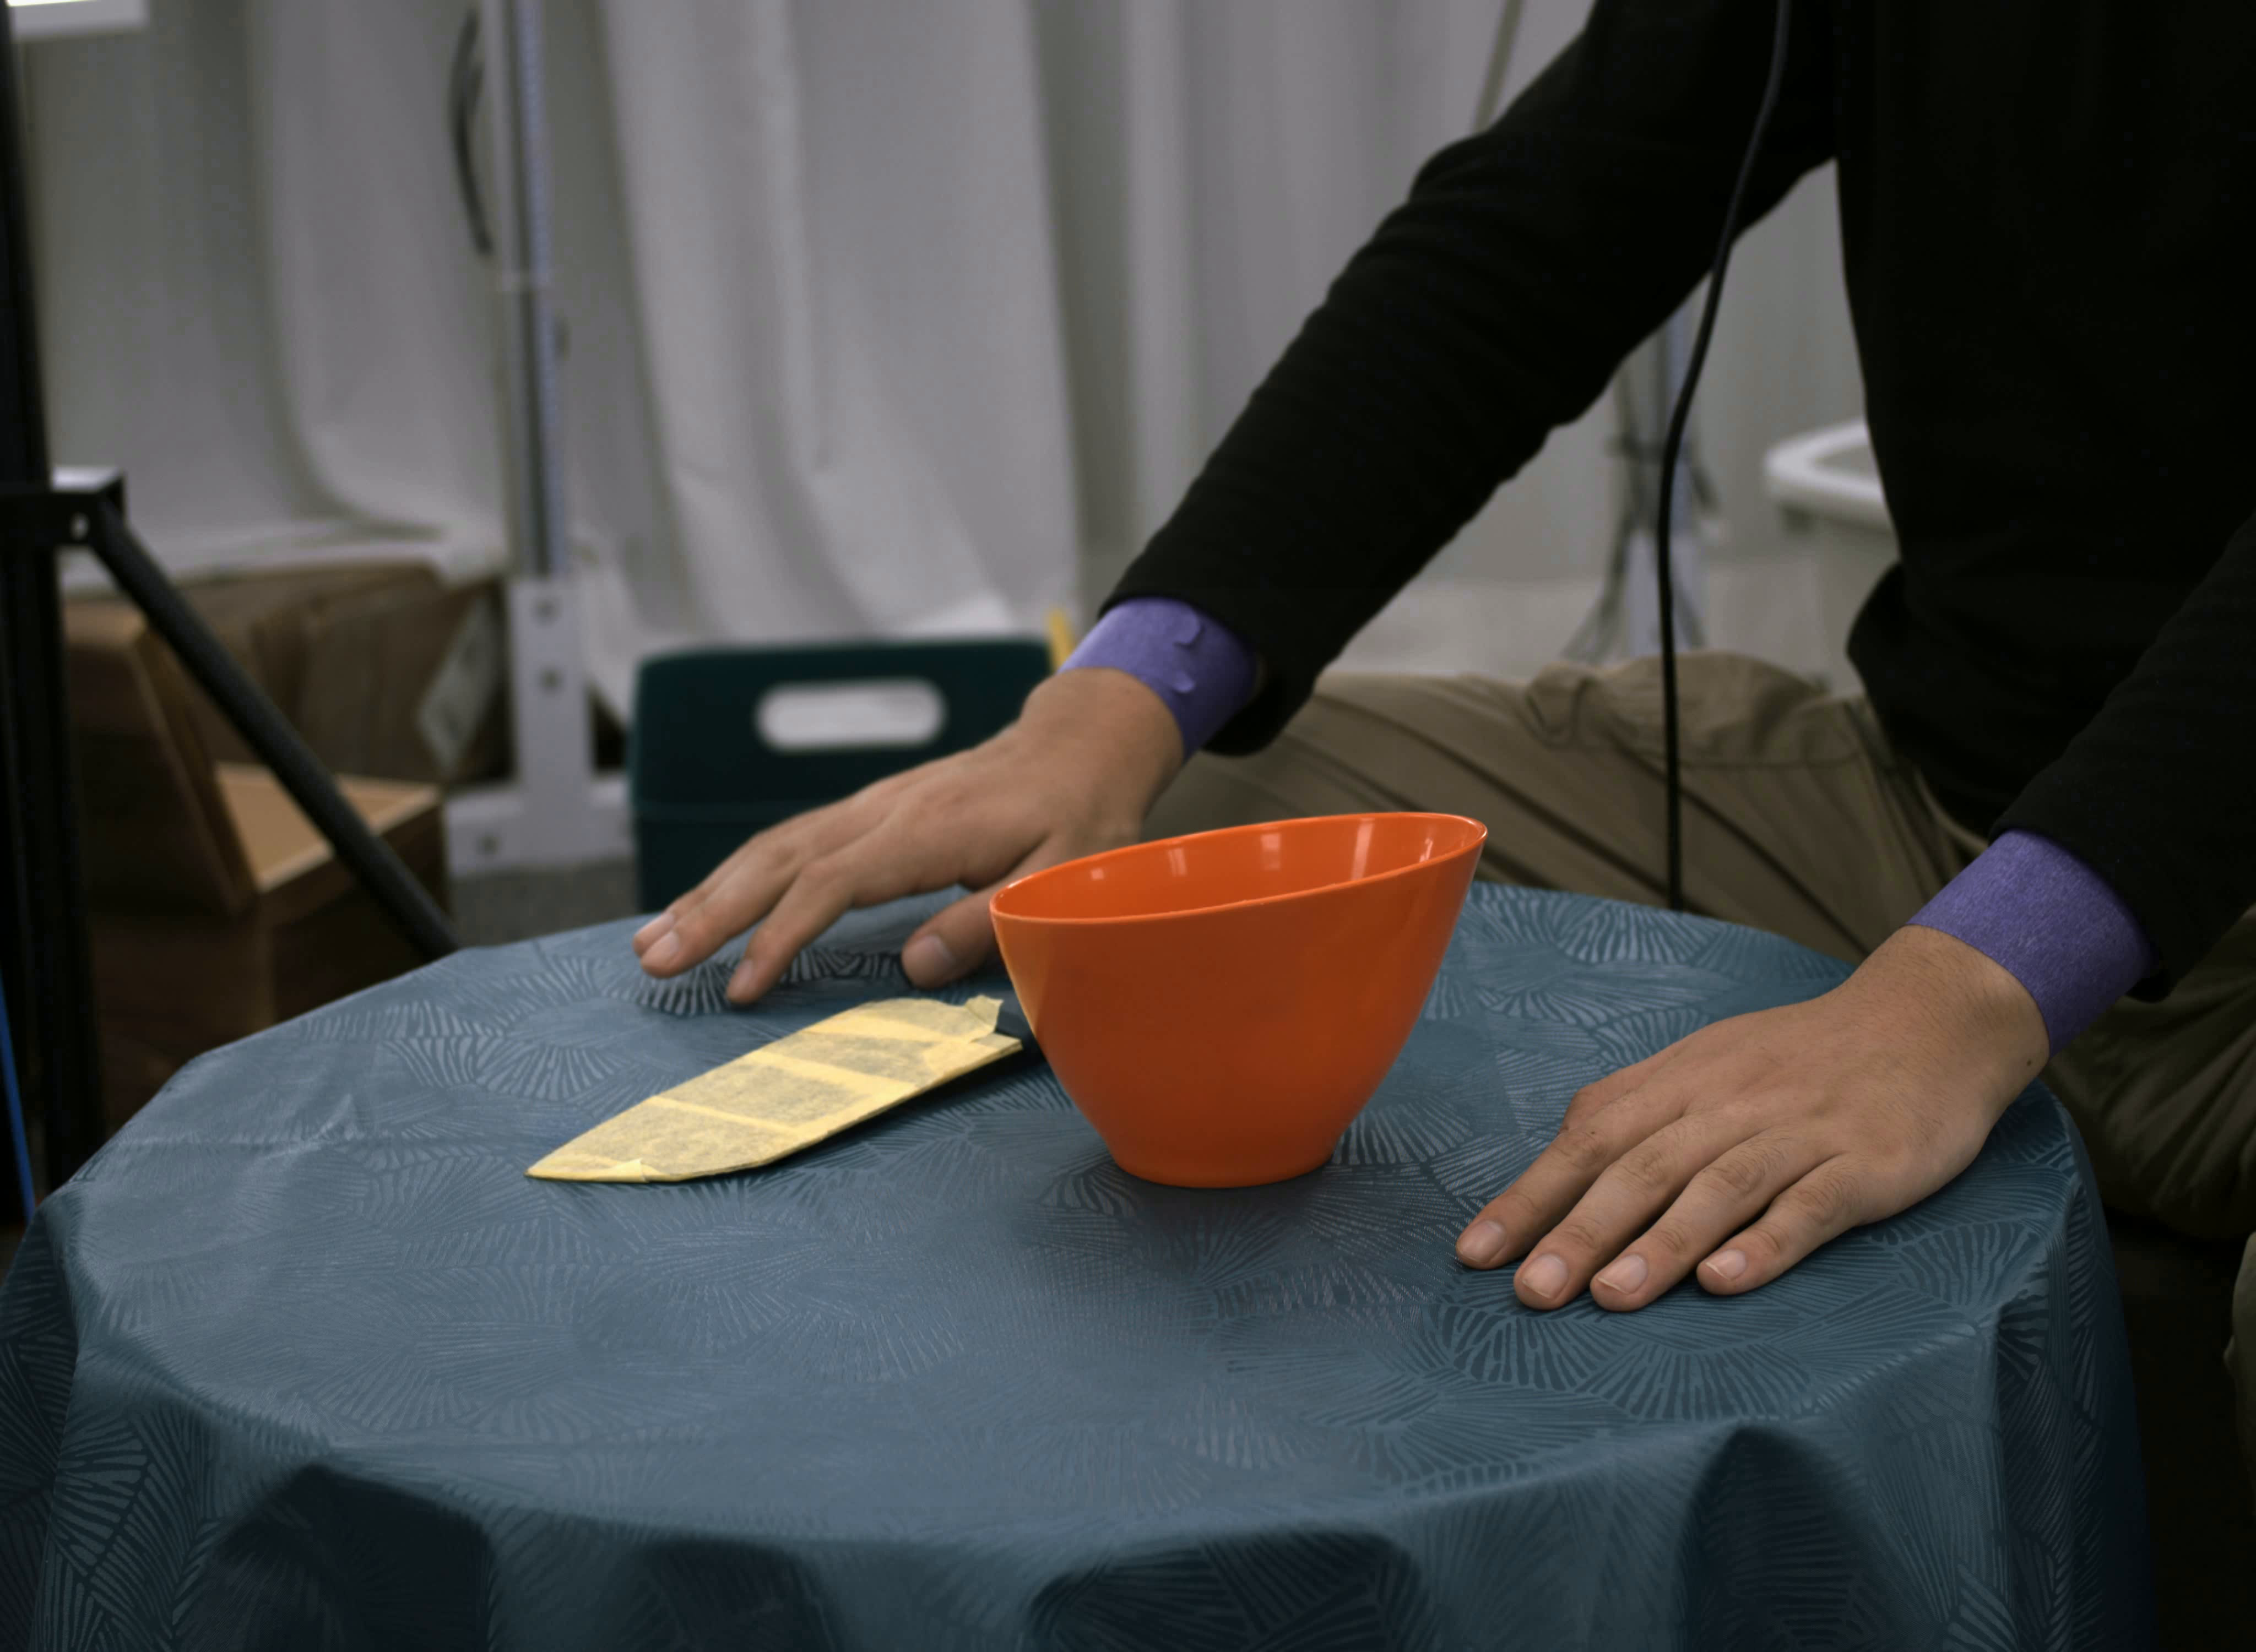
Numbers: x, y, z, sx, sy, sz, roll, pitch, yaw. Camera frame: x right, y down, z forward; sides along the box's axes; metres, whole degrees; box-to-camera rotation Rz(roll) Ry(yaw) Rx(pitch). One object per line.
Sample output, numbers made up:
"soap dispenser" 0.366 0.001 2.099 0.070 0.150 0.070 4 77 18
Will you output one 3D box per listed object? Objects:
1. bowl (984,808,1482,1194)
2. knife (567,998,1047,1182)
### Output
"bowl" 0.033 0.051 1.563 0.147 0.104 0.149 -4 16 0
"knife" -0.065 0.069 1.679 0.083 0.027 0.283 16 25 43
